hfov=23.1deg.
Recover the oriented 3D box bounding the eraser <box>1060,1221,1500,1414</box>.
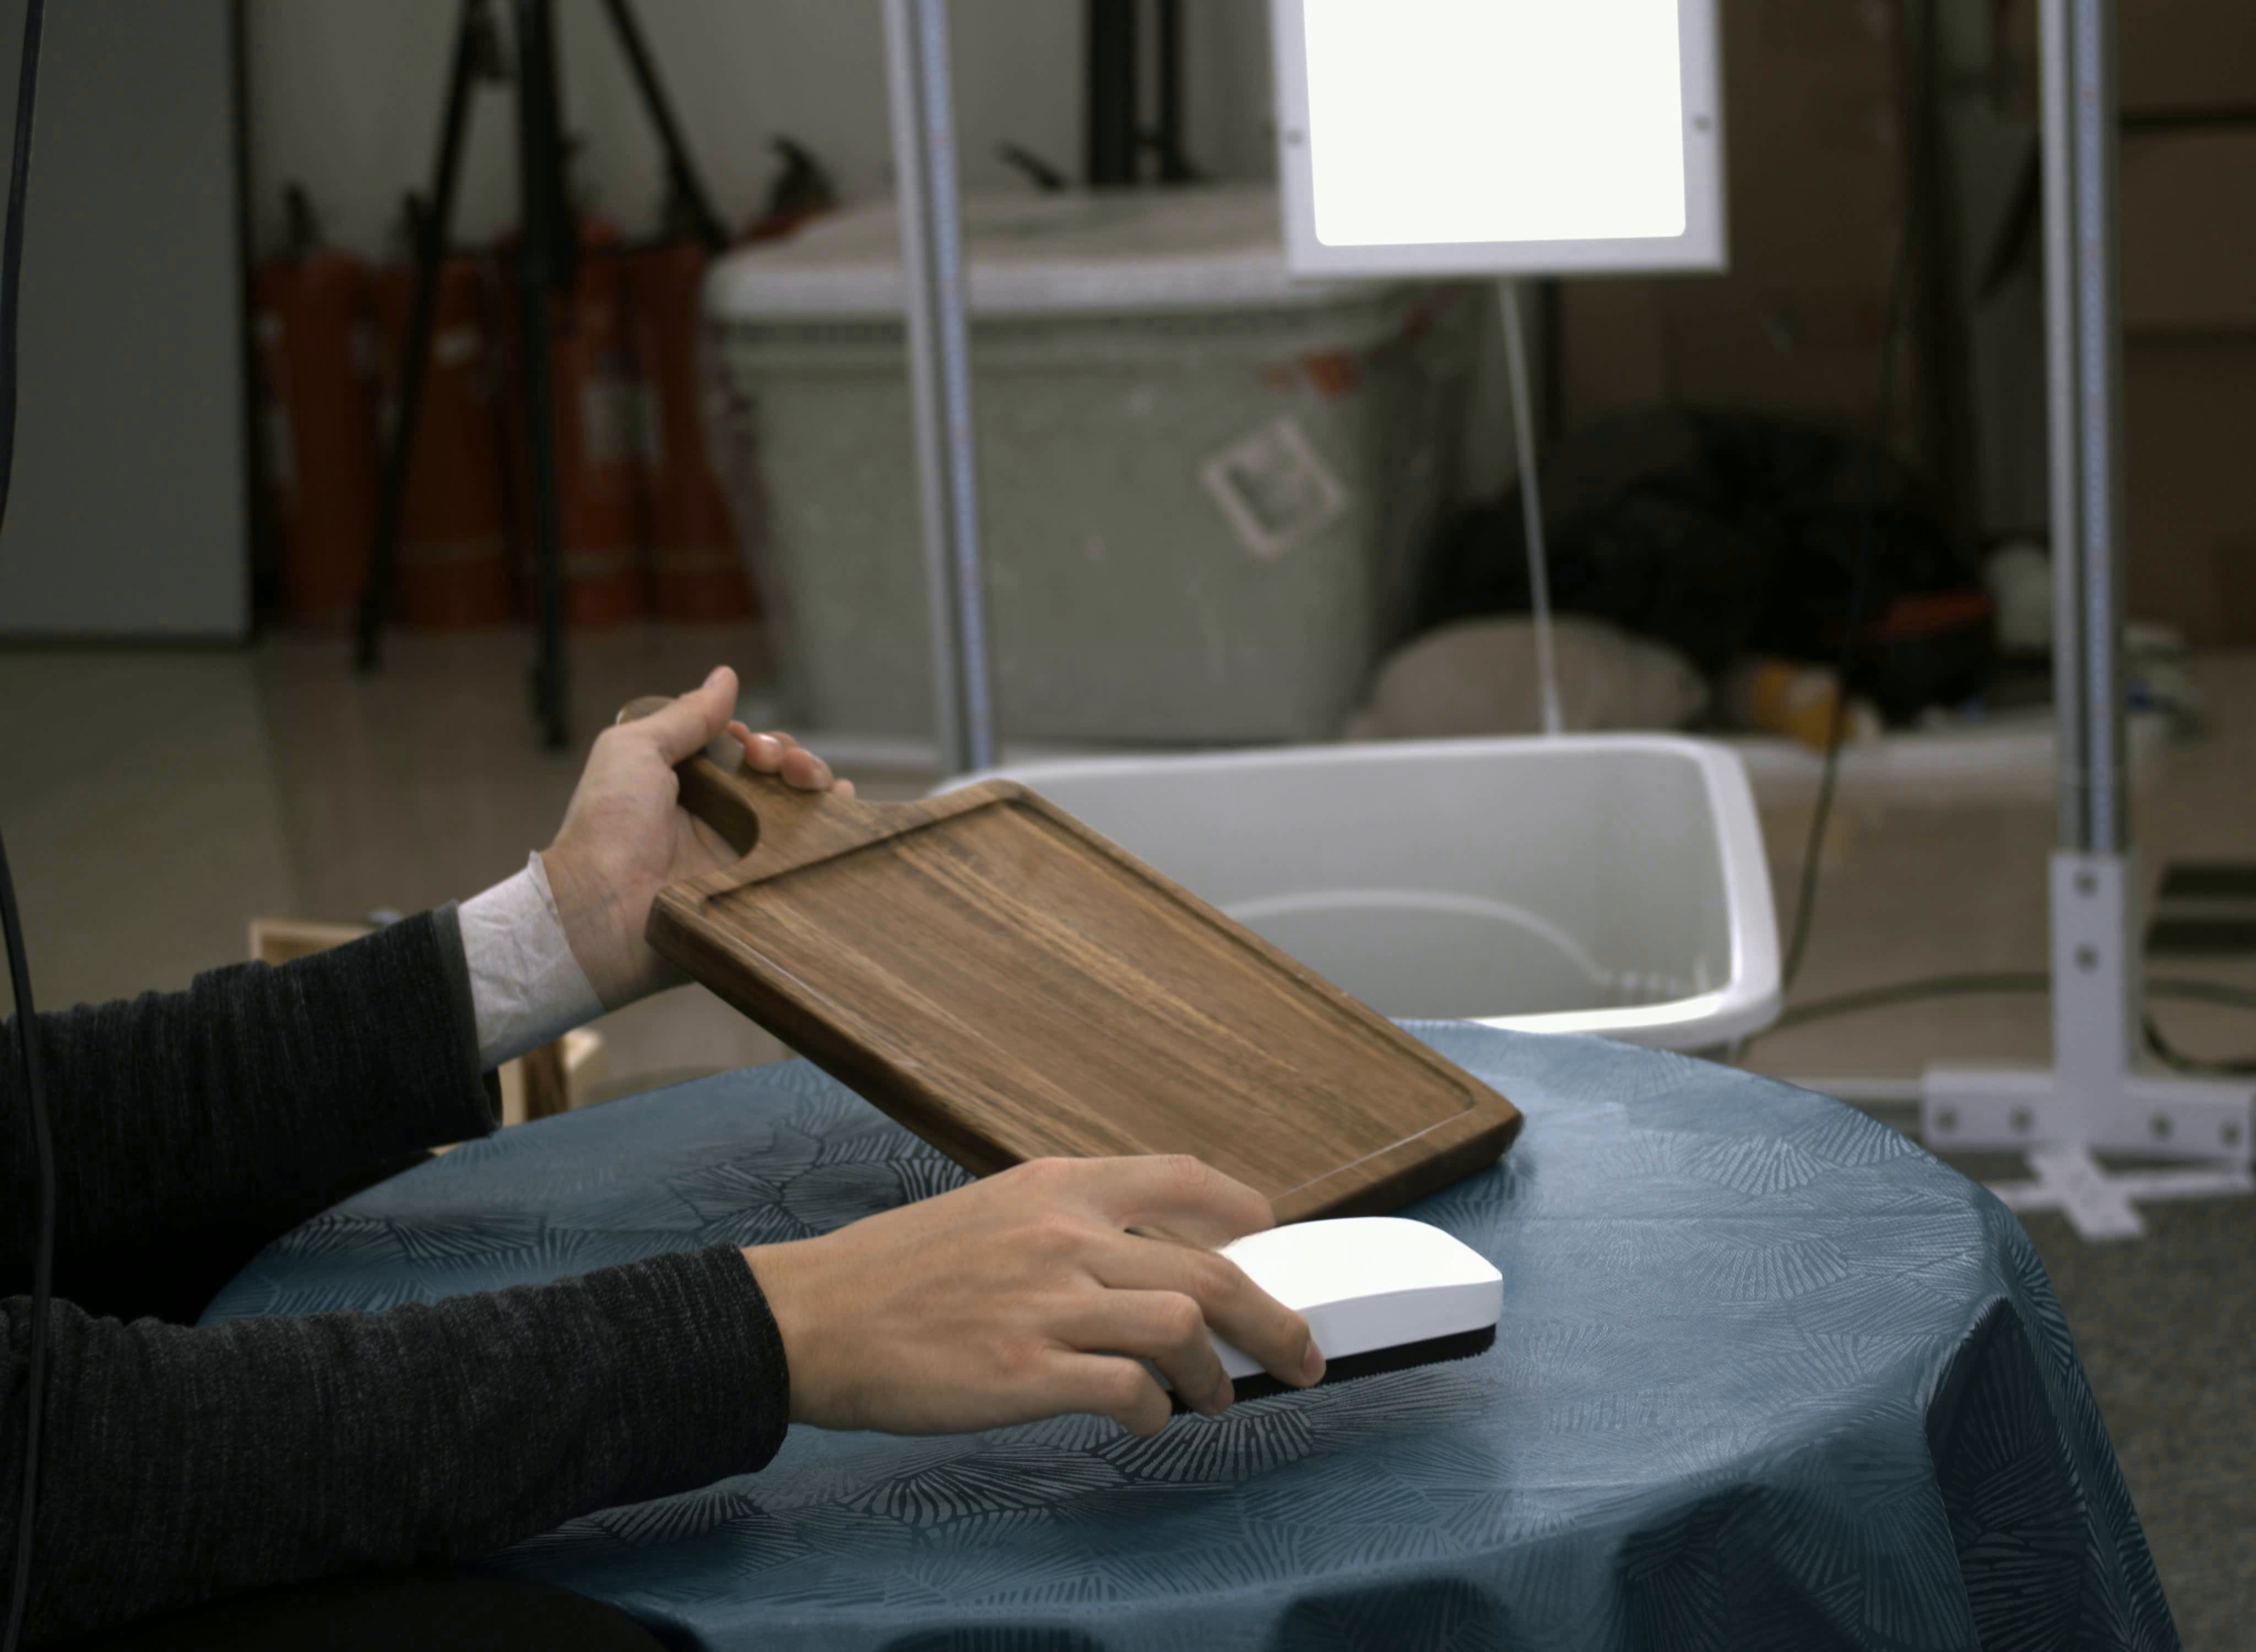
[{"bbox_3d":[0.046,0.144,1.659,0.128,0.035,0.064,-7,20,-24],"label":"eraser"}]

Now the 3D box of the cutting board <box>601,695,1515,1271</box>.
[{"bbox_3d":[-0.053,0.044,1.917,0.357,0.023,0.196,33,32,30],"label":"cutting board"}]
